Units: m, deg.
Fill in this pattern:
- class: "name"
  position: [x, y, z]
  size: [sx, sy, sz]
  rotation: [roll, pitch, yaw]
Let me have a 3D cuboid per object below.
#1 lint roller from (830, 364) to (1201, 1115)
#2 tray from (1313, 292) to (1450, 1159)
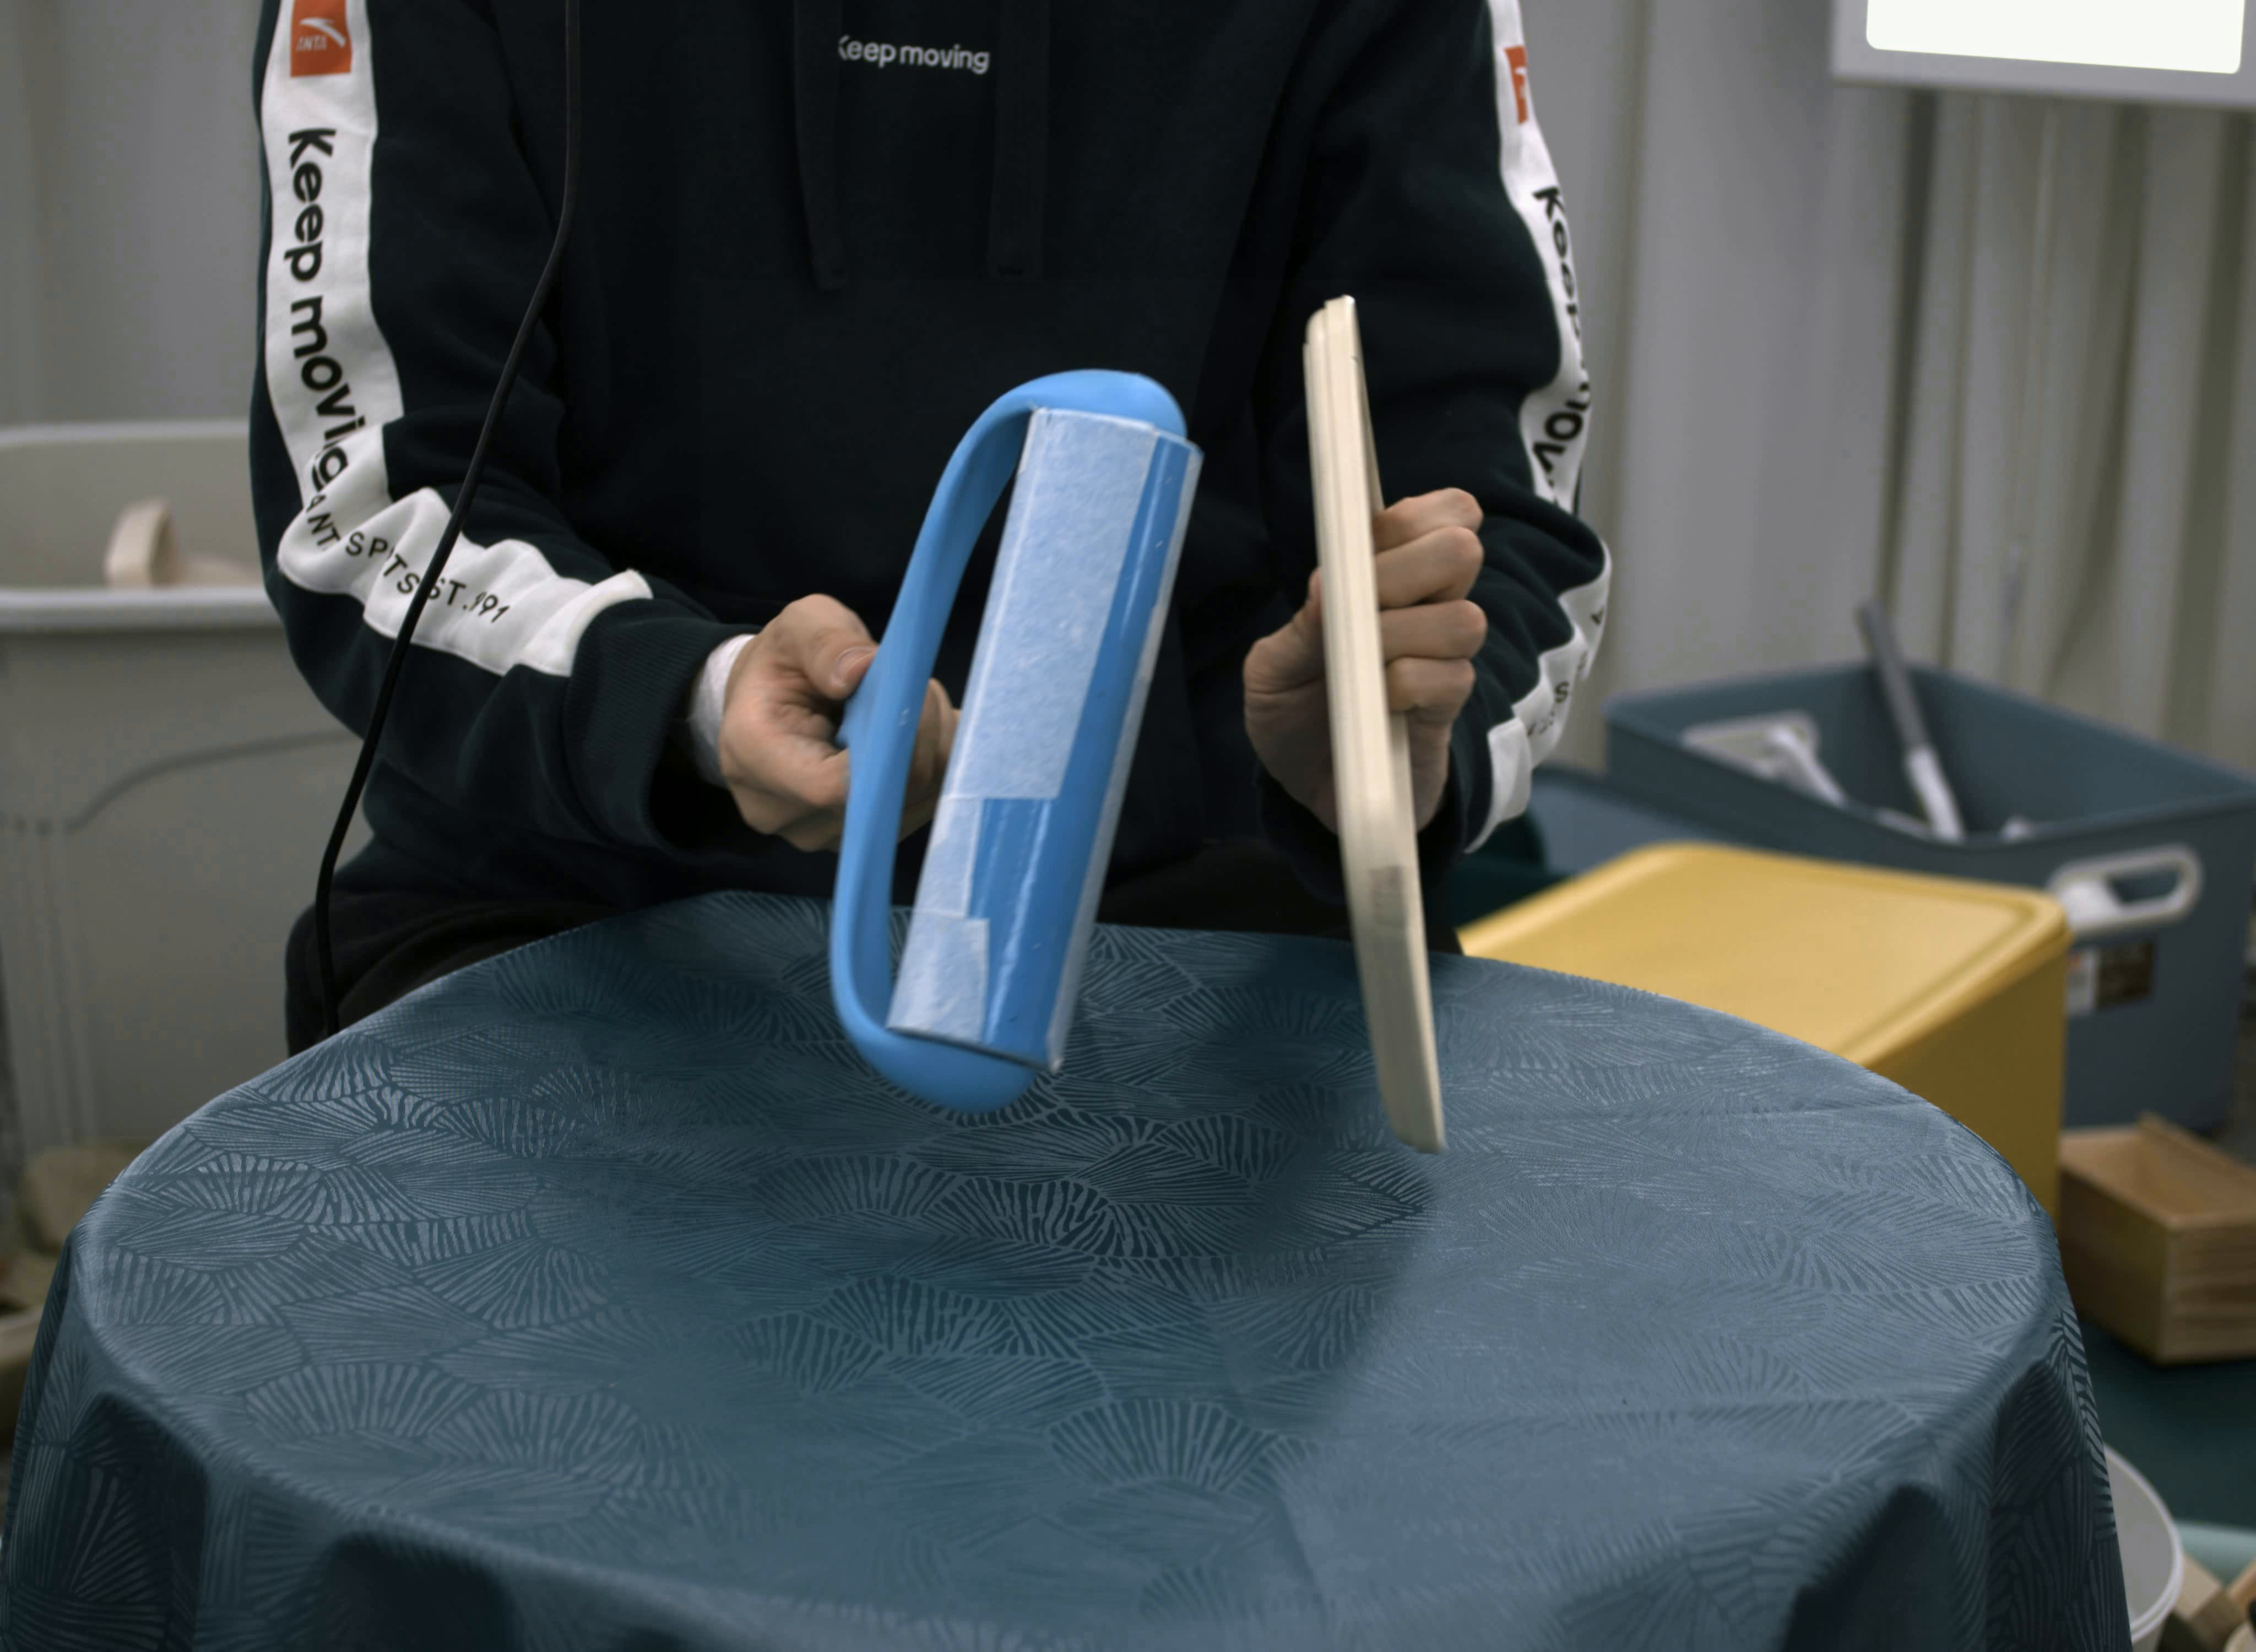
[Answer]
- class: "lint roller"
  position: [-0.055, -0.025, 1.620]
  size: [0.068, 0.229, 0.178]
  rotation: [15, -8, -28]
- class: "tray"
  position: [0.077, -0.031, 1.615]
  size: [0.017, 0.173, 0.237]
  rotation: [-6, 54, 4]
